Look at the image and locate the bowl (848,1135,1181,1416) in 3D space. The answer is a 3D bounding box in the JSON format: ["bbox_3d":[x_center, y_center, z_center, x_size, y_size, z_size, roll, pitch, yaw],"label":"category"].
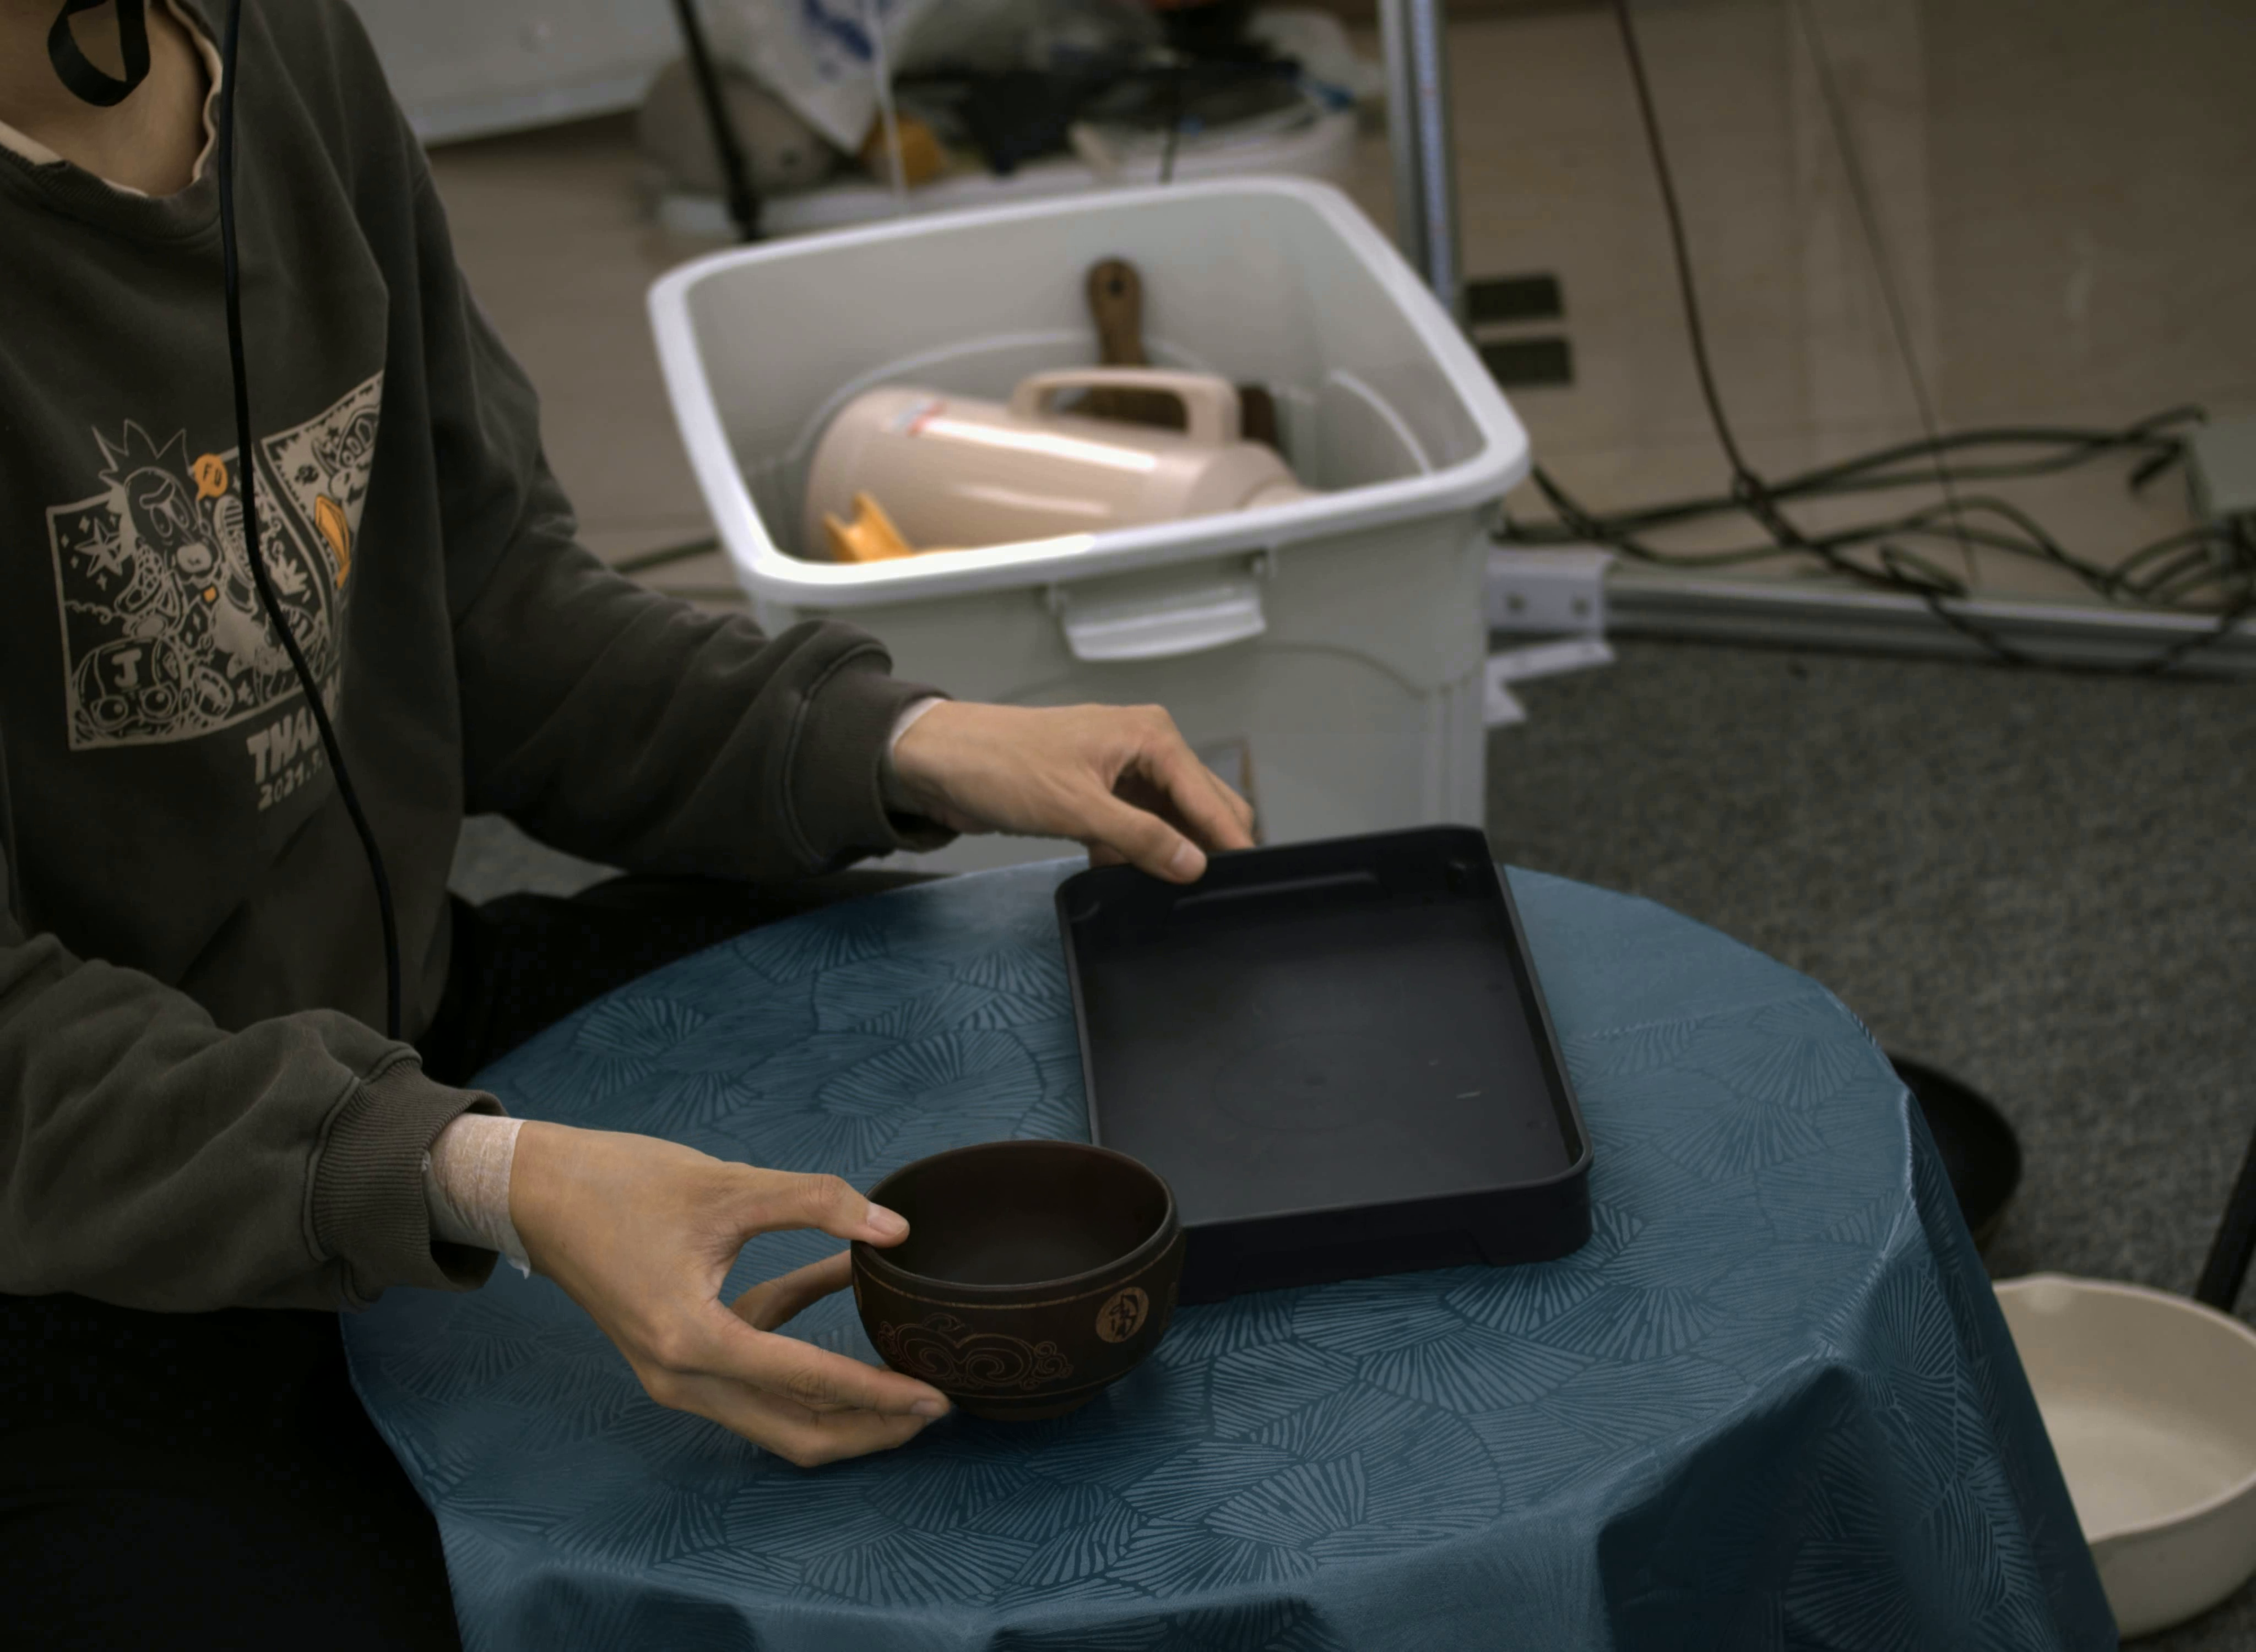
[{"bbox_3d":[-0.039,0.165,2.004,0.118,0.071,0.116,-4,23,2],"label":"bowl"}]

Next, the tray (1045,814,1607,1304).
[{"bbox_3d":[0.072,0.085,2.202,0.184,0.037,0.313,-8,25,-3],"label":"tray"}]
